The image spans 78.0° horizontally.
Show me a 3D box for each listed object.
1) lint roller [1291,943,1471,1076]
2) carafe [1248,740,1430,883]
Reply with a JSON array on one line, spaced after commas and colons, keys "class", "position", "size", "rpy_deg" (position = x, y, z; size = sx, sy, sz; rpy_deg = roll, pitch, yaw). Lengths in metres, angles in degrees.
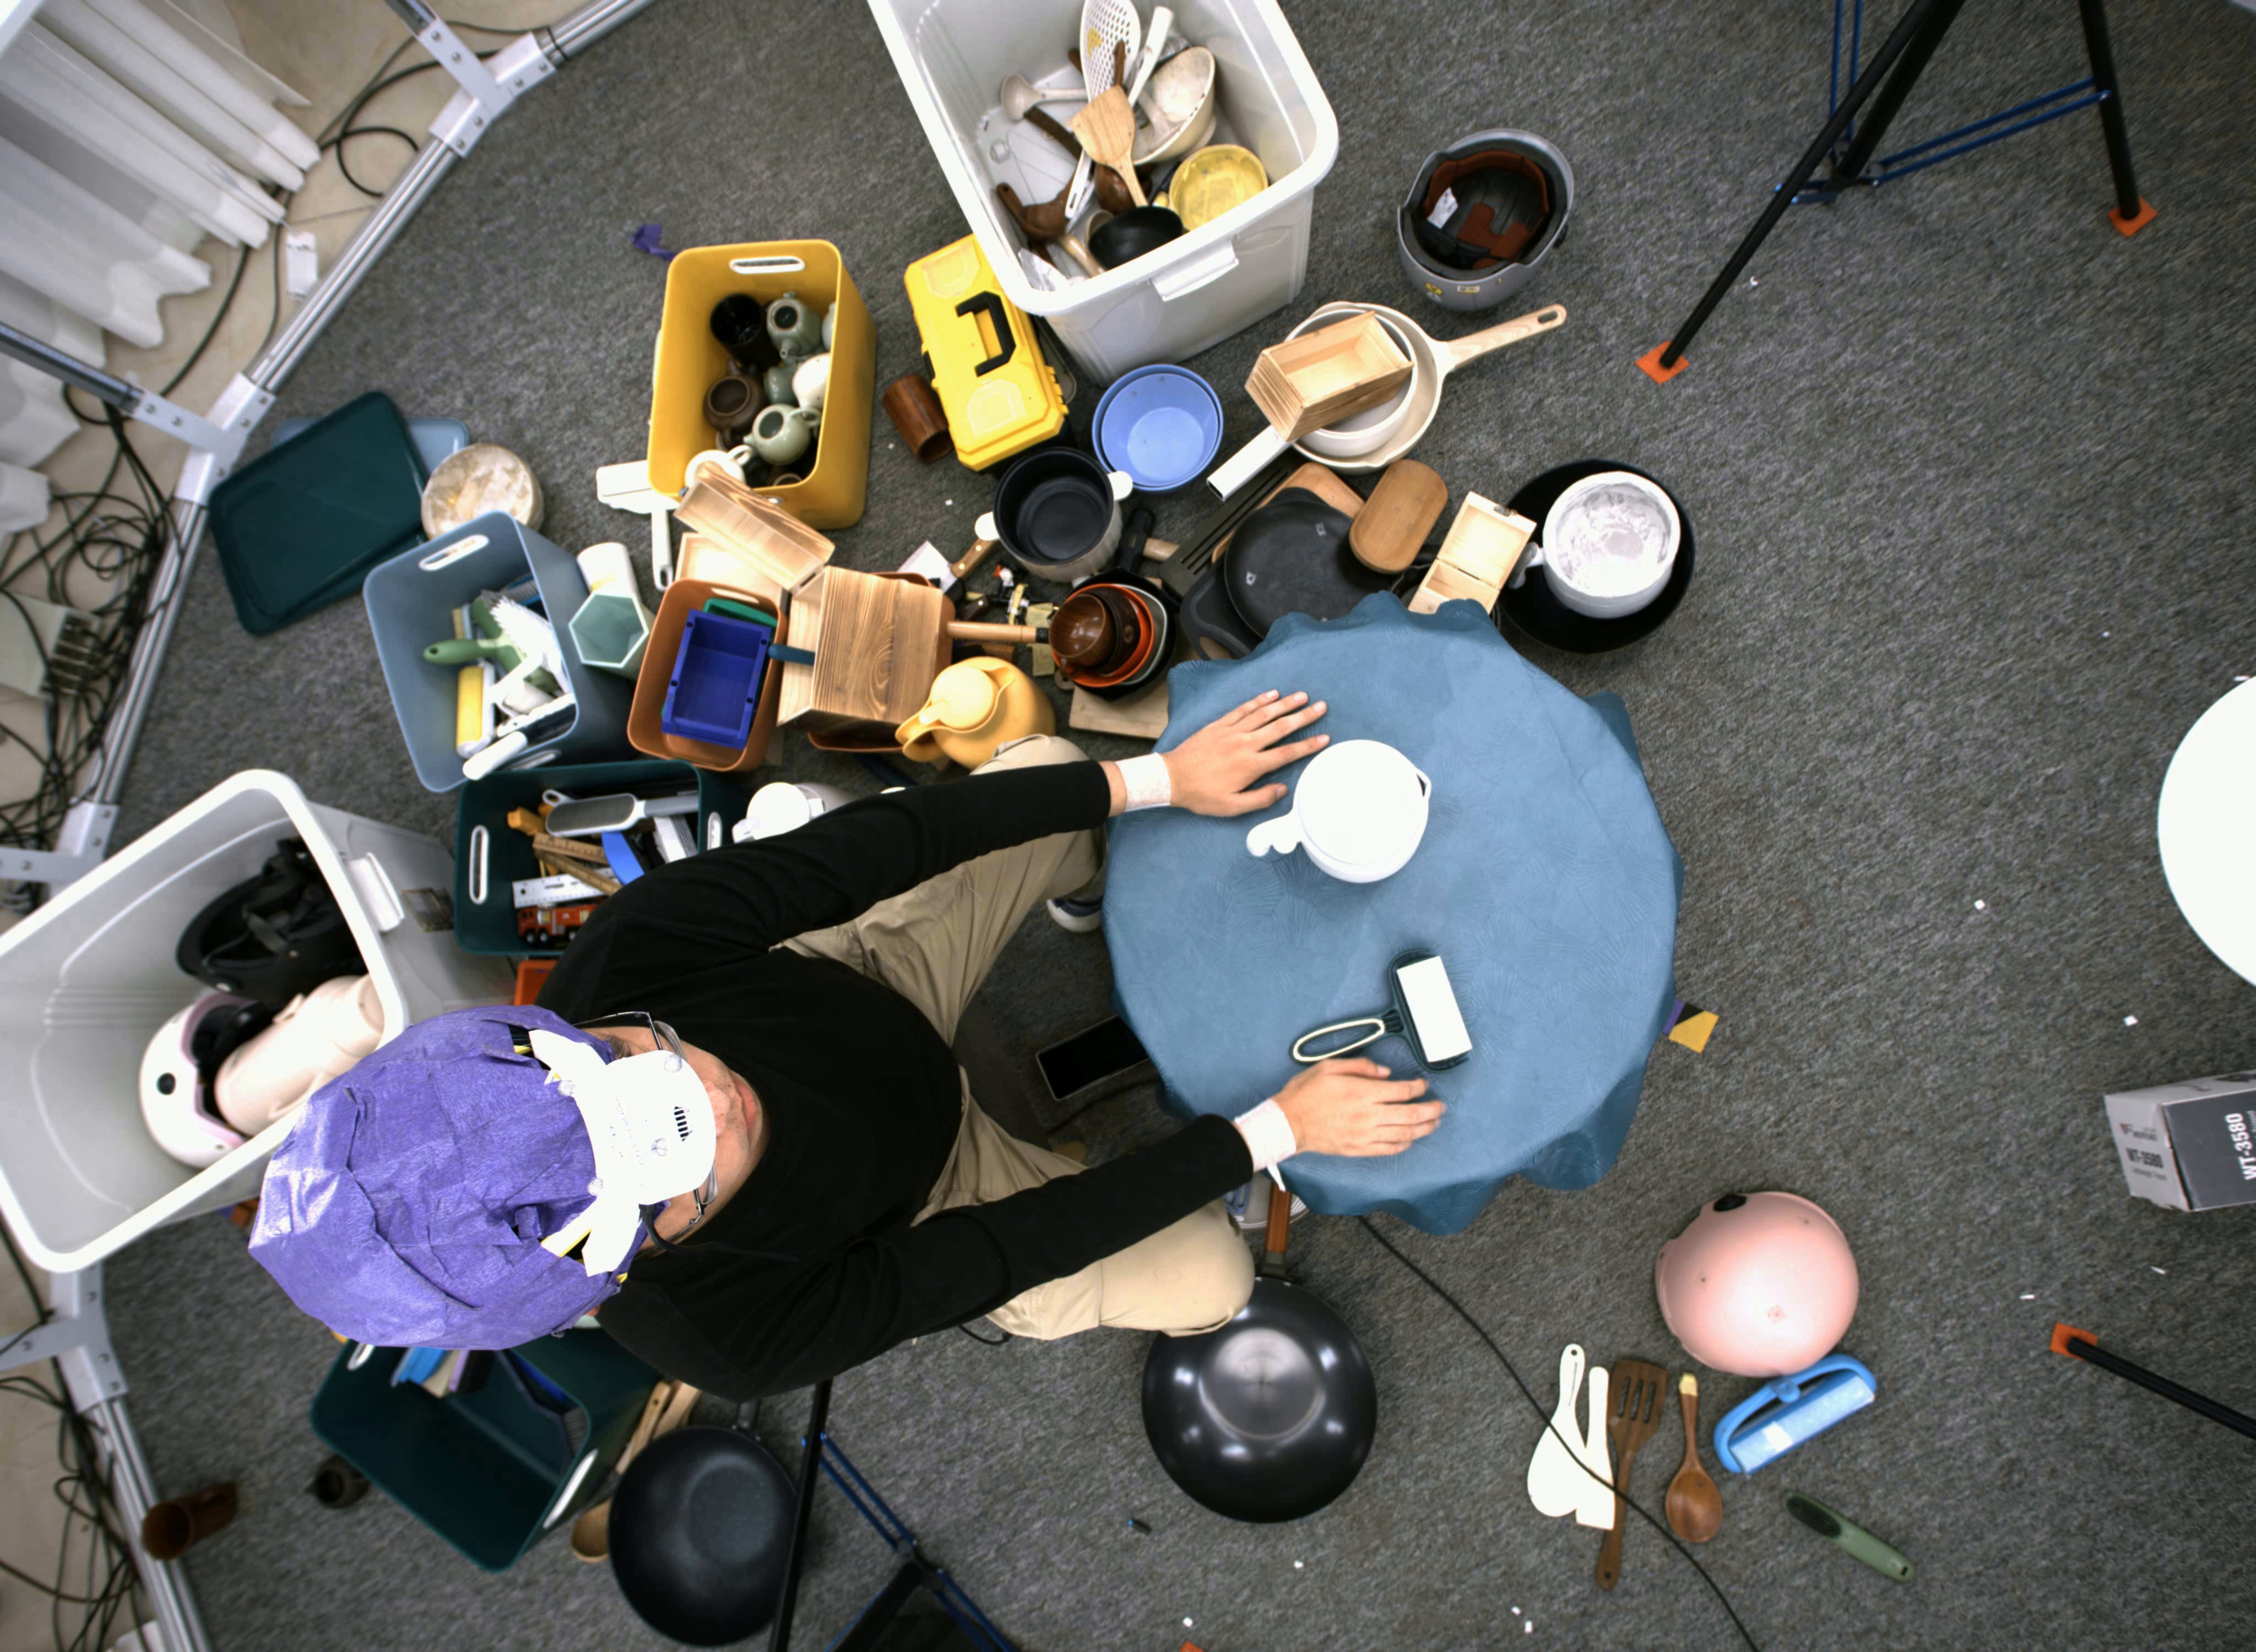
[{"class": "lint roller", "position": [0.252, 0.210, 1.435], "size": [0.181, 0.048, 0.133], "rpy_deg": [-20, 83, 11]}, {"class": "carafe", "position": [0.210, -0.006, 1.388], "size": [0.192, 0.182, 0.131], "rpy_deg": [-19, 81, 10]}]
